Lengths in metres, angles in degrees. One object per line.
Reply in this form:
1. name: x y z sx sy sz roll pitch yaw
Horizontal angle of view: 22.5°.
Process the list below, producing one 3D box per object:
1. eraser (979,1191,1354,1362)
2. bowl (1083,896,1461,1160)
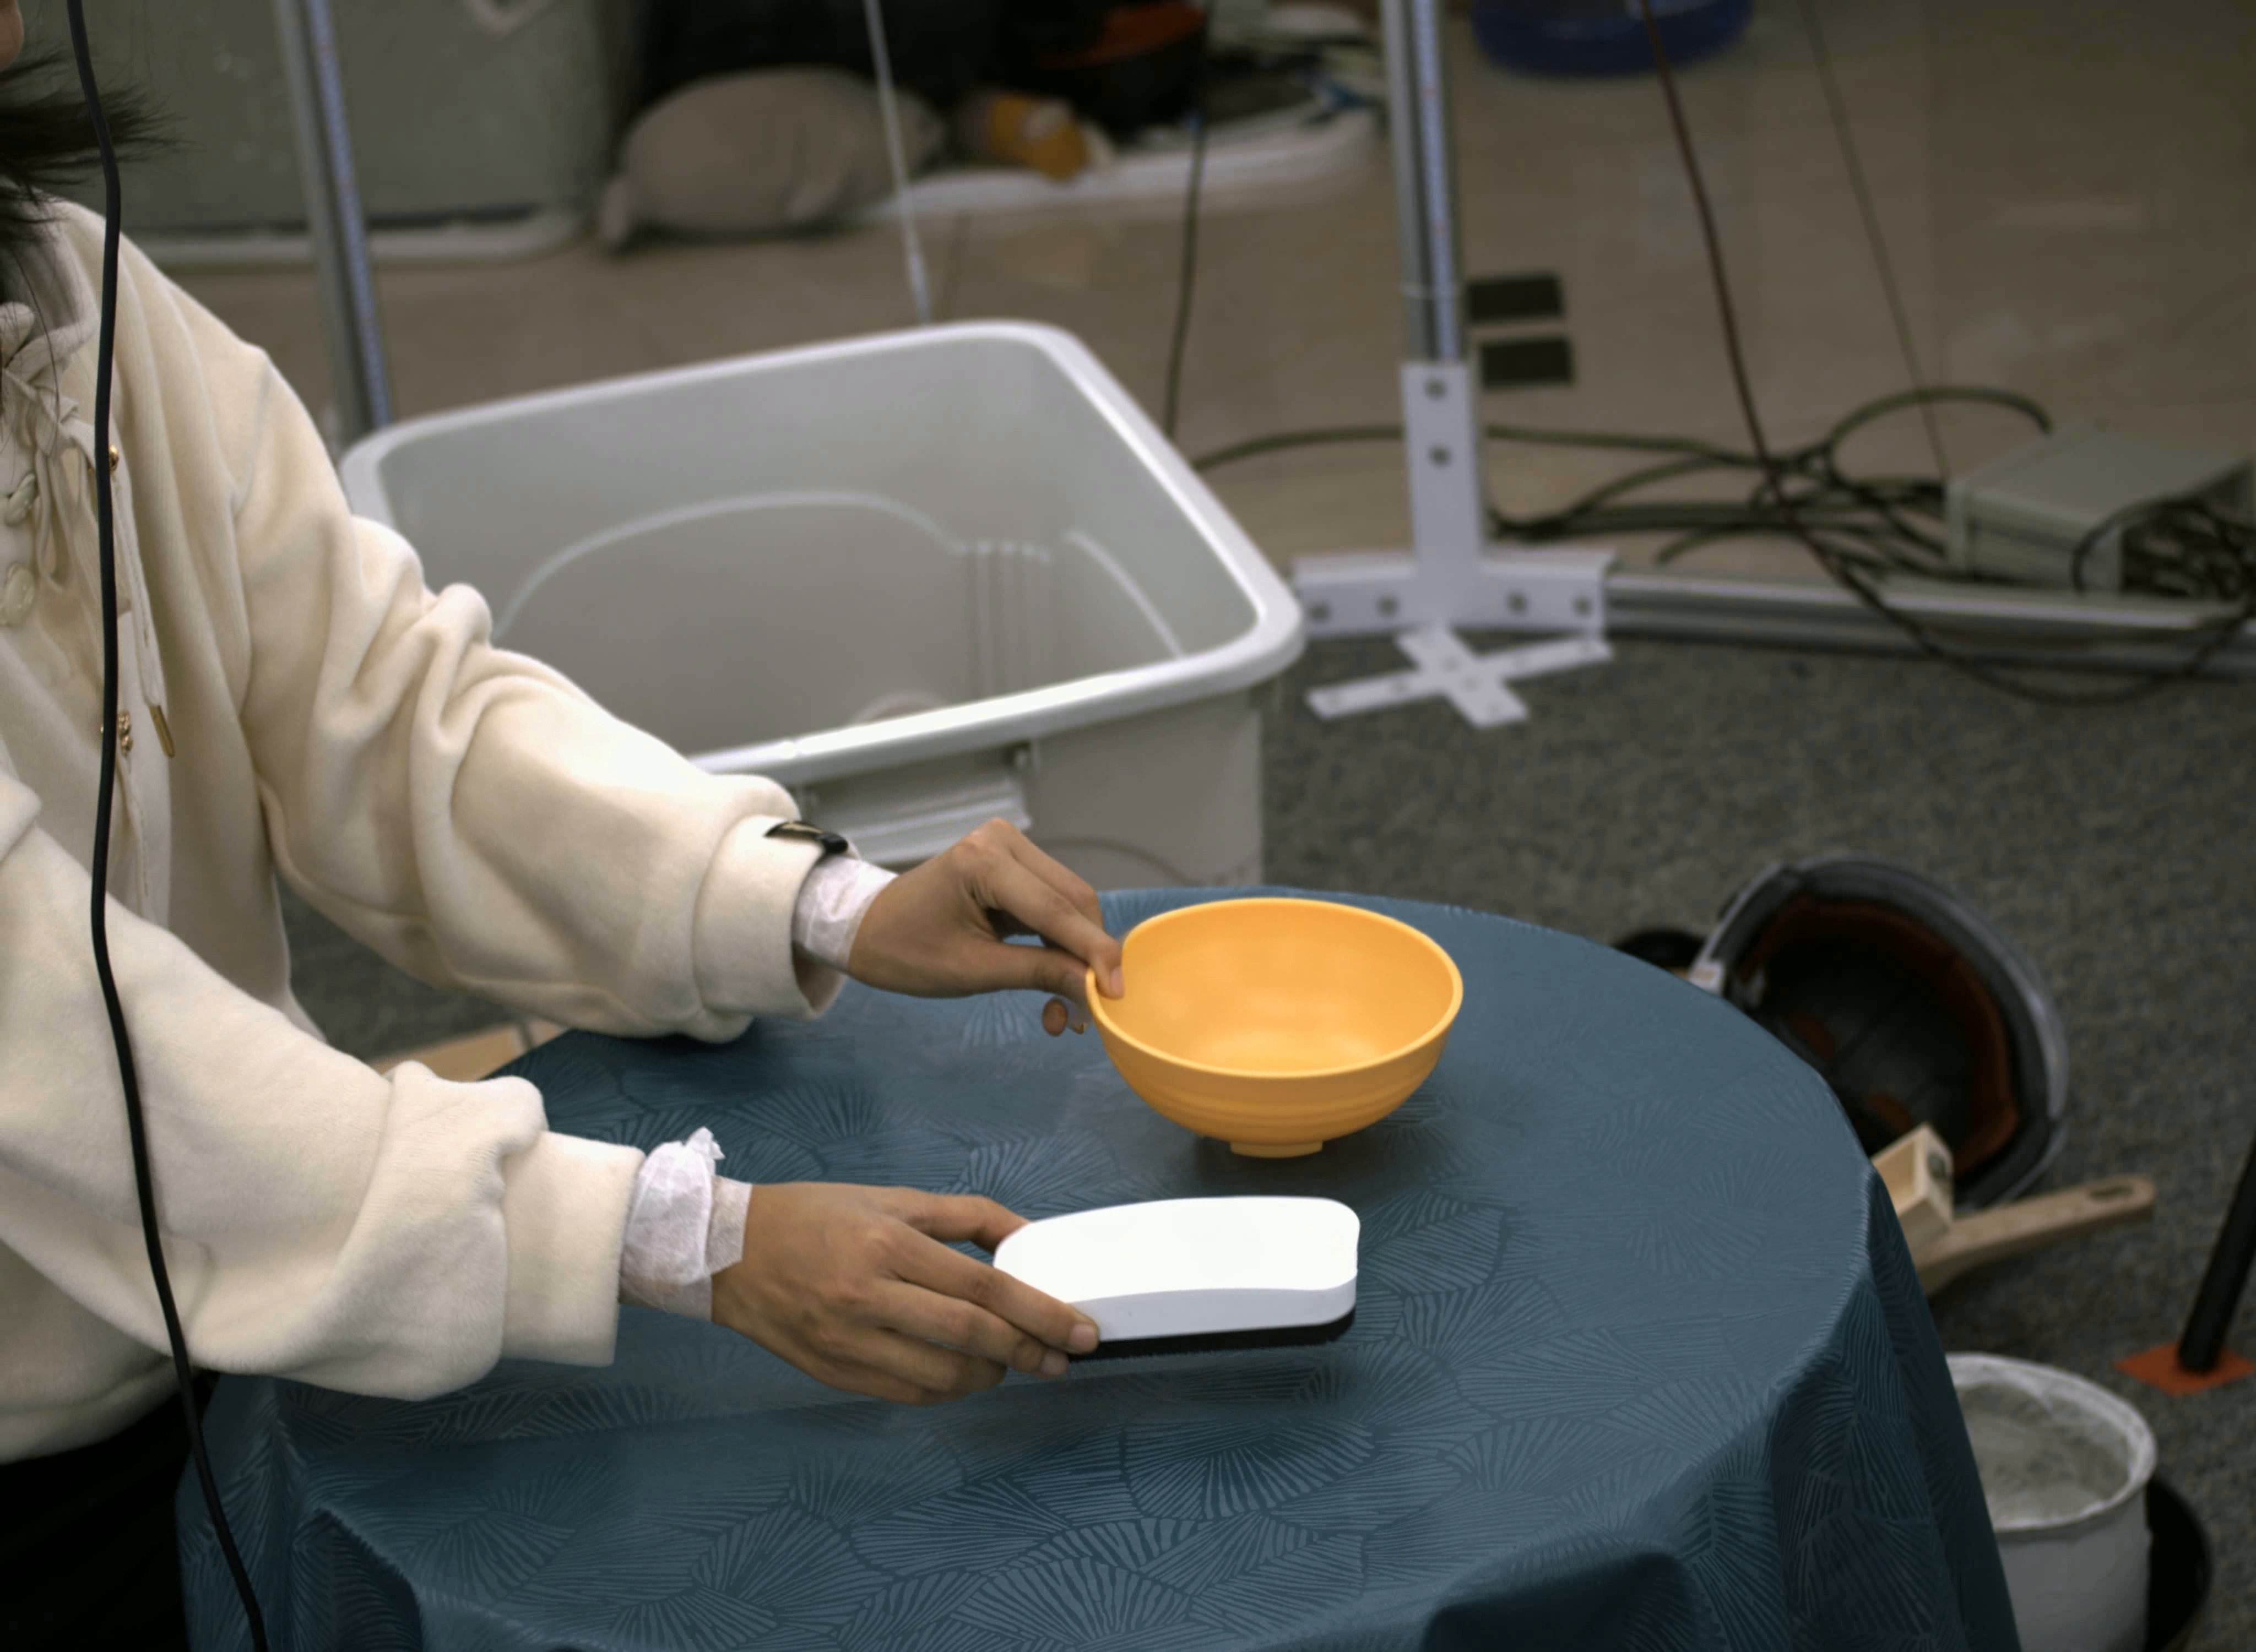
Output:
1. eraser: 0.014 0.158 1.997 0.131 0.035 0.062 -4 26 8
2. bowl: 0.054 0.086 2.171 0.145 0.061 0.143 2 28 -1
